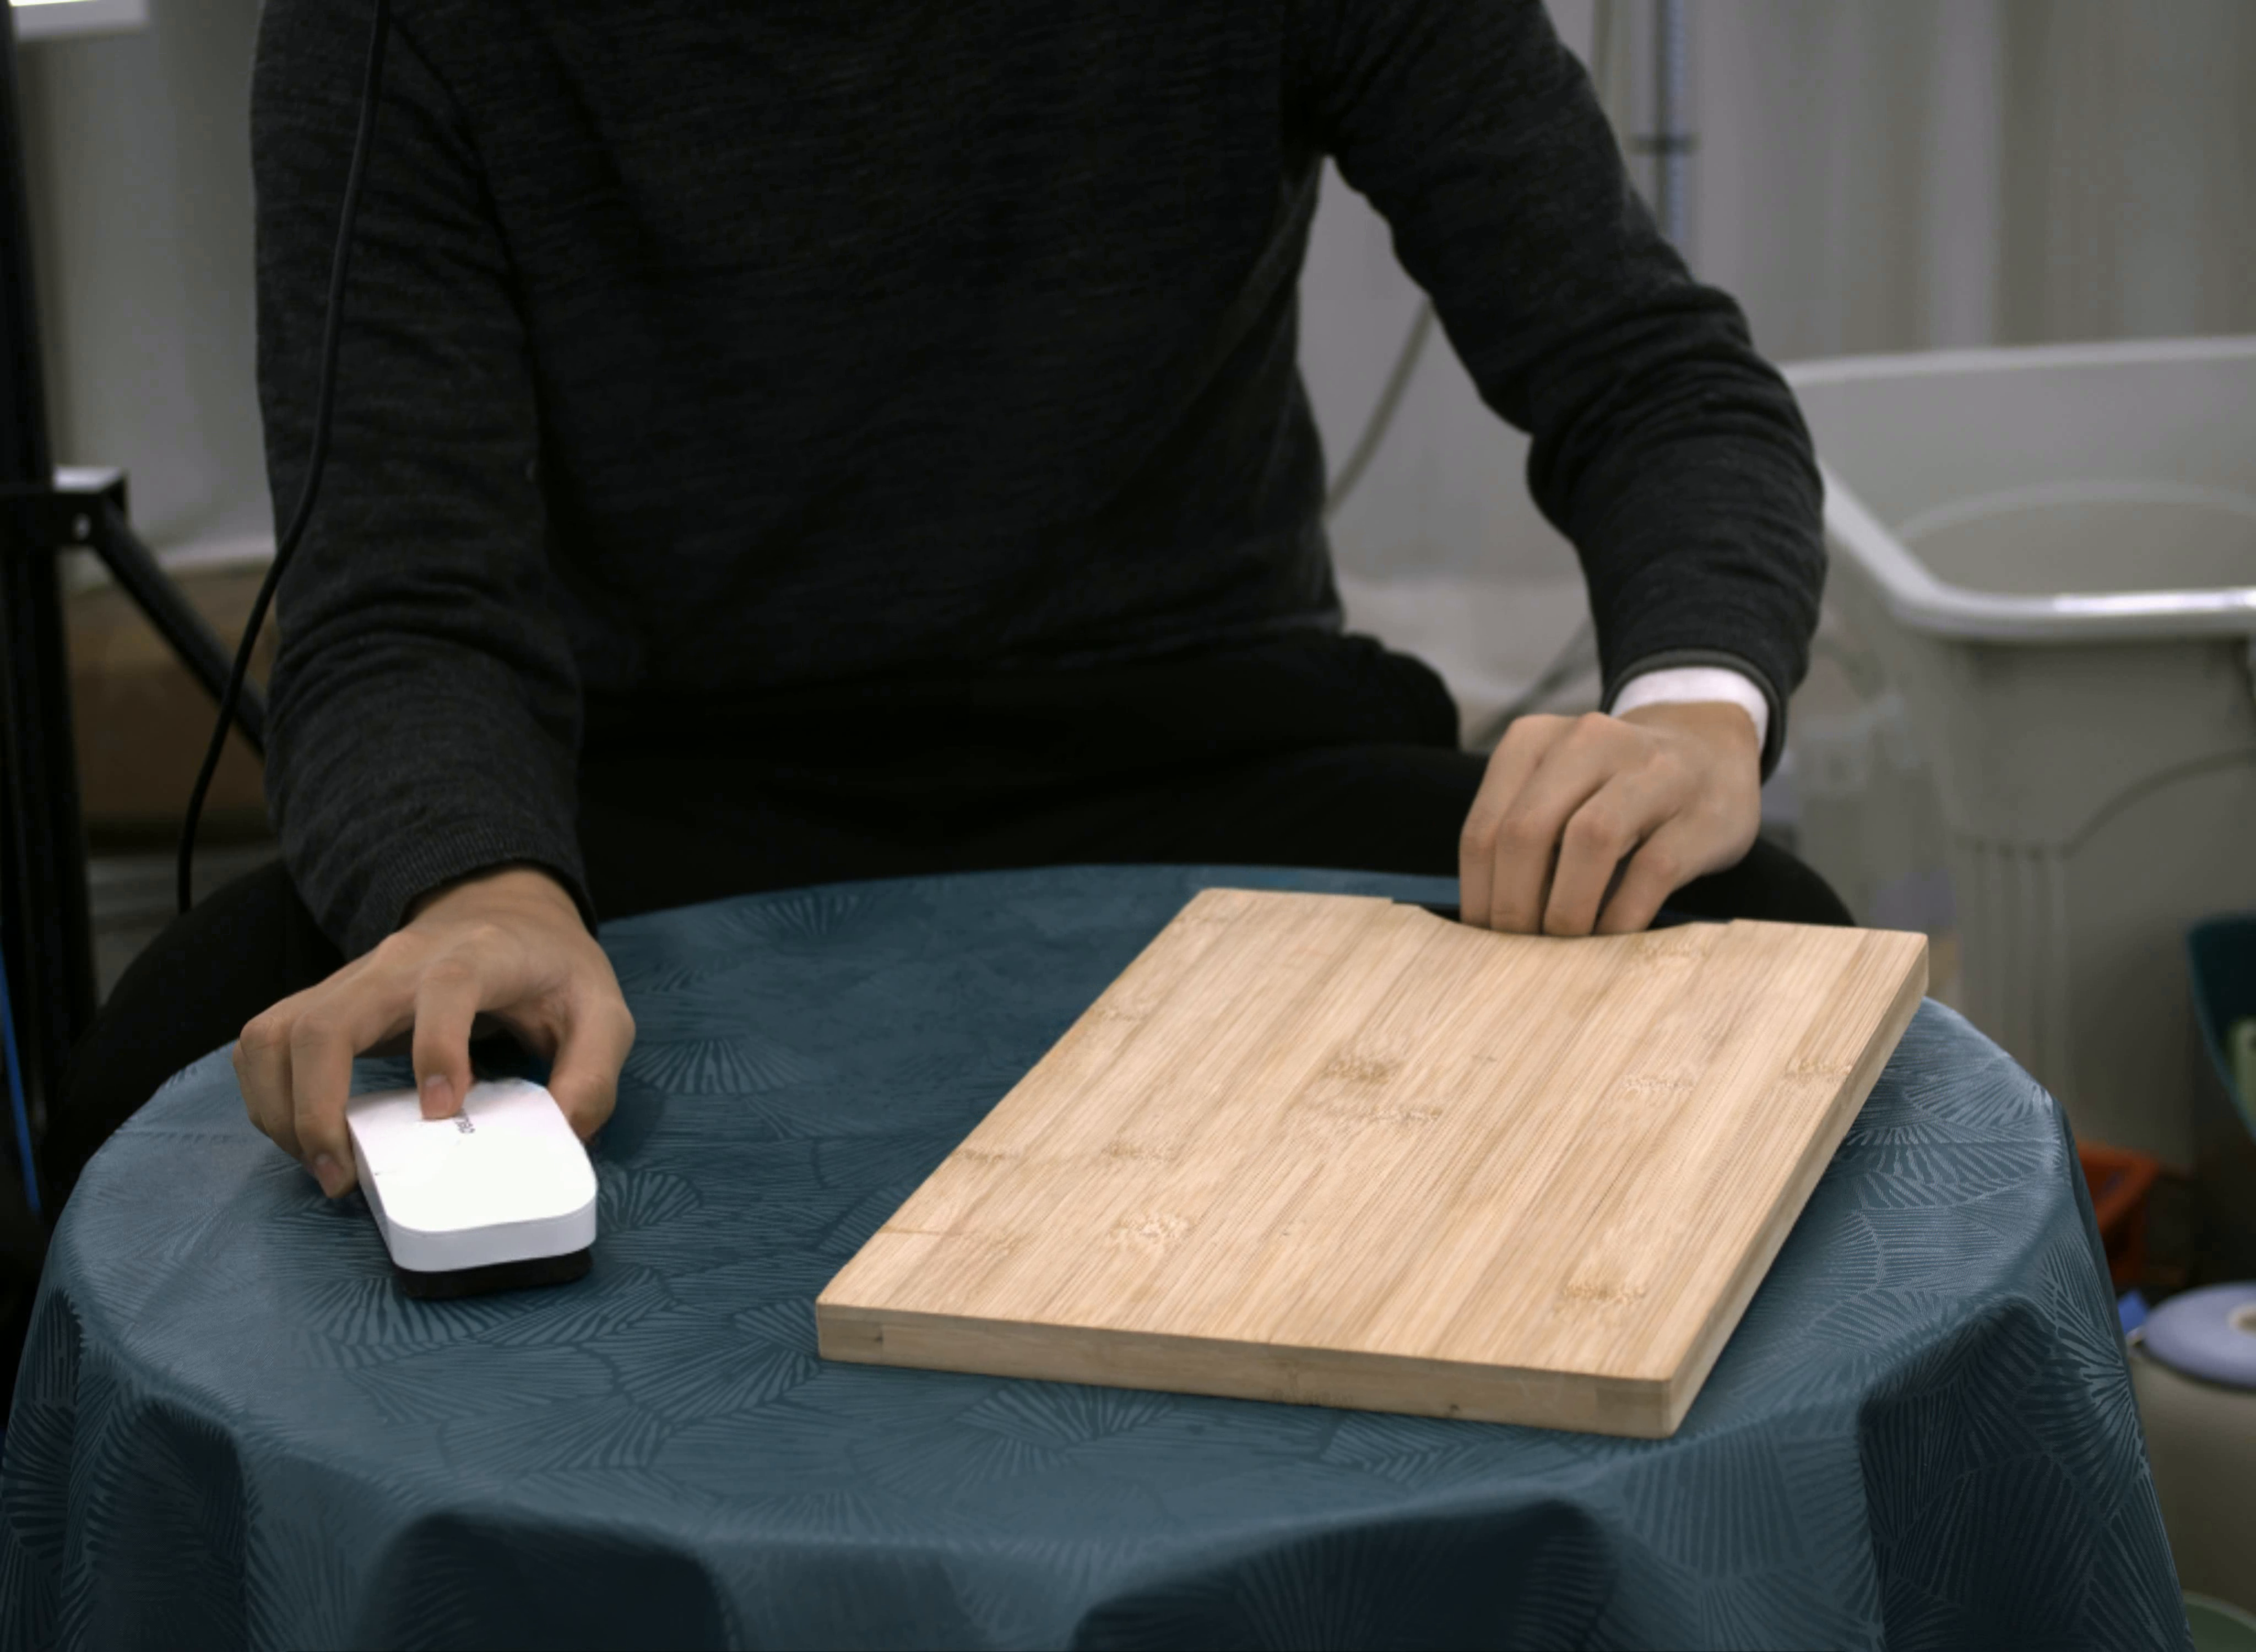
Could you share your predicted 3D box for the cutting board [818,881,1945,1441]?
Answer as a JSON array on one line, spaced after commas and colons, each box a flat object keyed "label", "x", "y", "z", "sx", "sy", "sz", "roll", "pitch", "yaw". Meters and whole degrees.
[{"label": "cutting board", "x": 0.085, "y": 0.088, "z": 1.548, "sx": 0.253, "sy": 0.023, "sz": 0.345, "roll": 3, "pitch": 20, "yaw": 19}]

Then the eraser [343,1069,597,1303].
[{"label": "eraser", "x": -0.191, "y": 0.101, "z": 1.557, "sx": 0.062, "sy": 0.034, "sz": 0.133, "roll": -8, "pitch": 18, "yaw": -12}]
